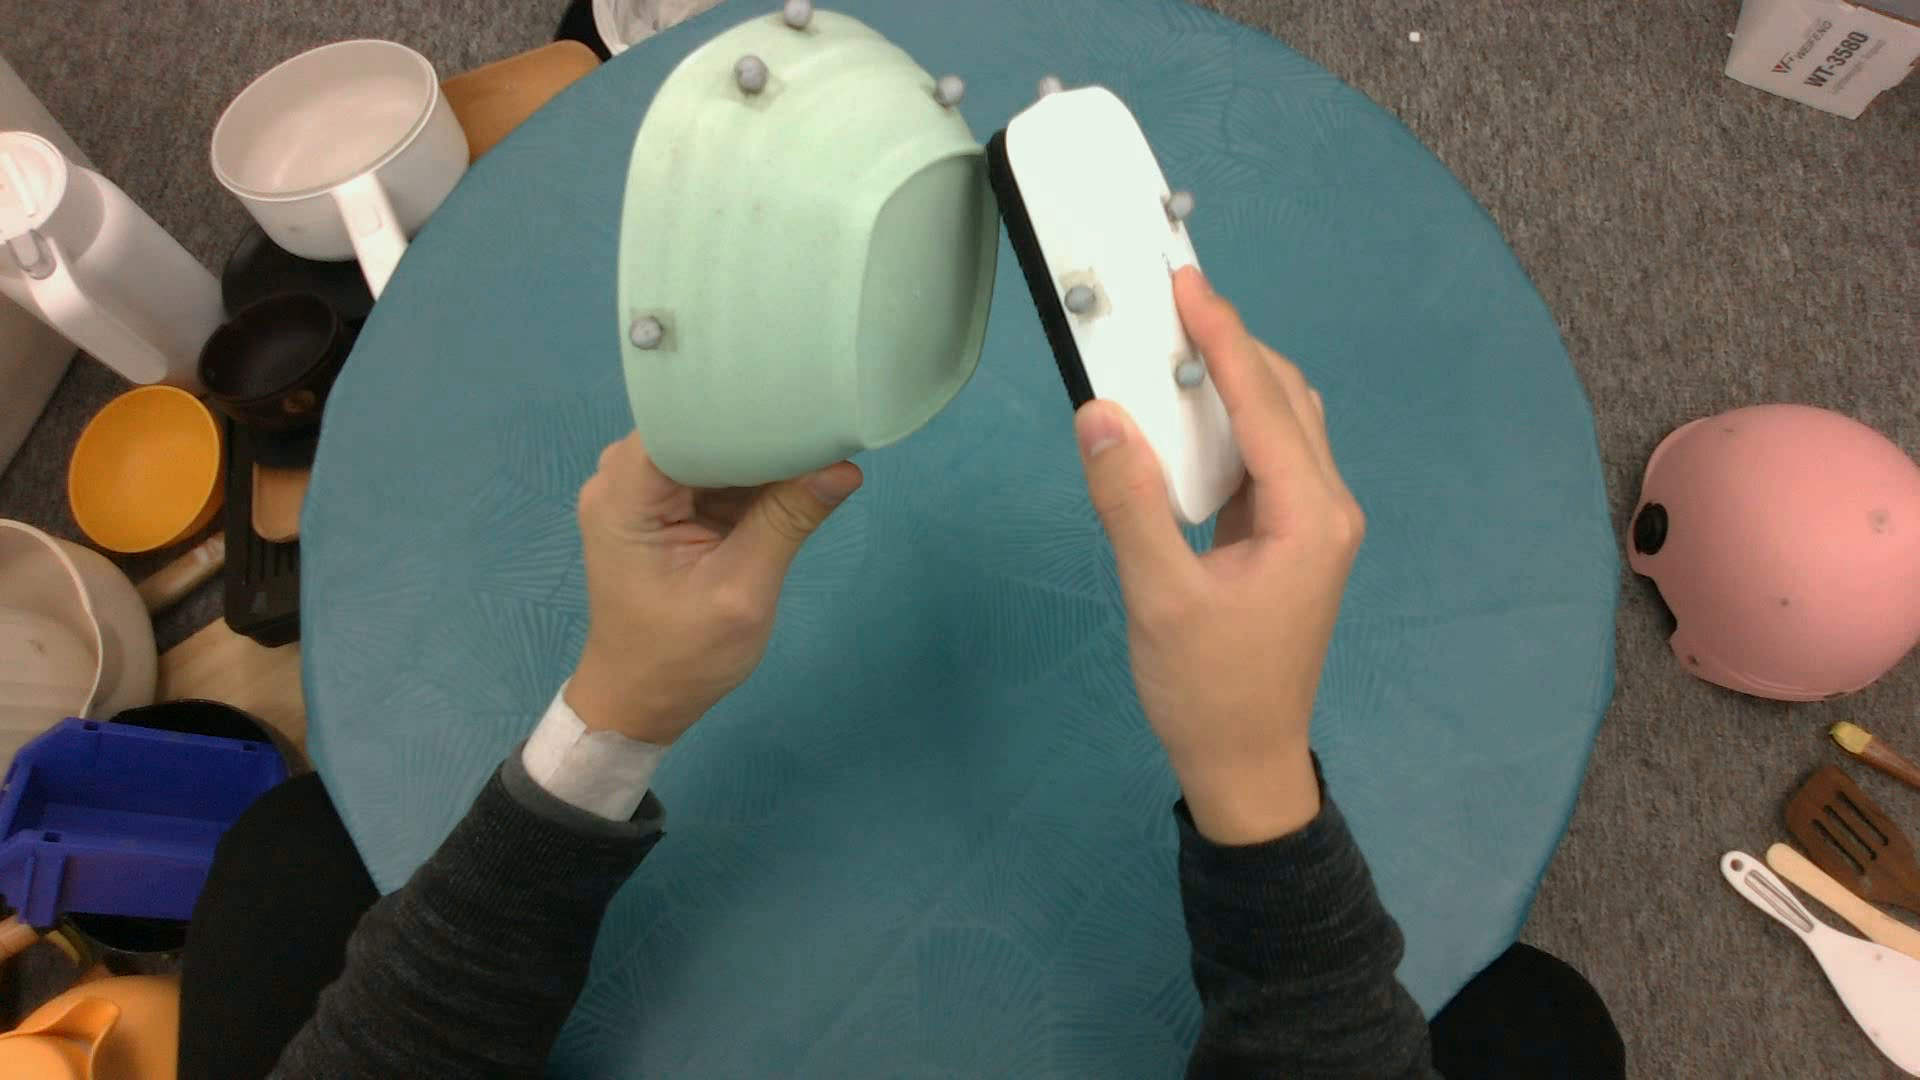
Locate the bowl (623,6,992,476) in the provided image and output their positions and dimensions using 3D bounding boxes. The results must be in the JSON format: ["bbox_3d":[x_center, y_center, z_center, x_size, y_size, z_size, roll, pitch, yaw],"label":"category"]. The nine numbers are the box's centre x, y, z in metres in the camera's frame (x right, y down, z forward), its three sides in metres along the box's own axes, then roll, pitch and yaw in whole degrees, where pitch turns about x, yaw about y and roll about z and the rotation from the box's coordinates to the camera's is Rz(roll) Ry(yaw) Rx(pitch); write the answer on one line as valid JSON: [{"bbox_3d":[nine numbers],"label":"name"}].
[{"bbox_3d":[-0.035,-0.082,0.413,0.058,0.151,0.152,20,72,19],"label":"bowl"}]

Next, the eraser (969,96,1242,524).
[{"bbox_3d":[0.048,-0.070,0.424,0.063,0.034,0.131,-33,103,-53],"label":"eraser"}]
